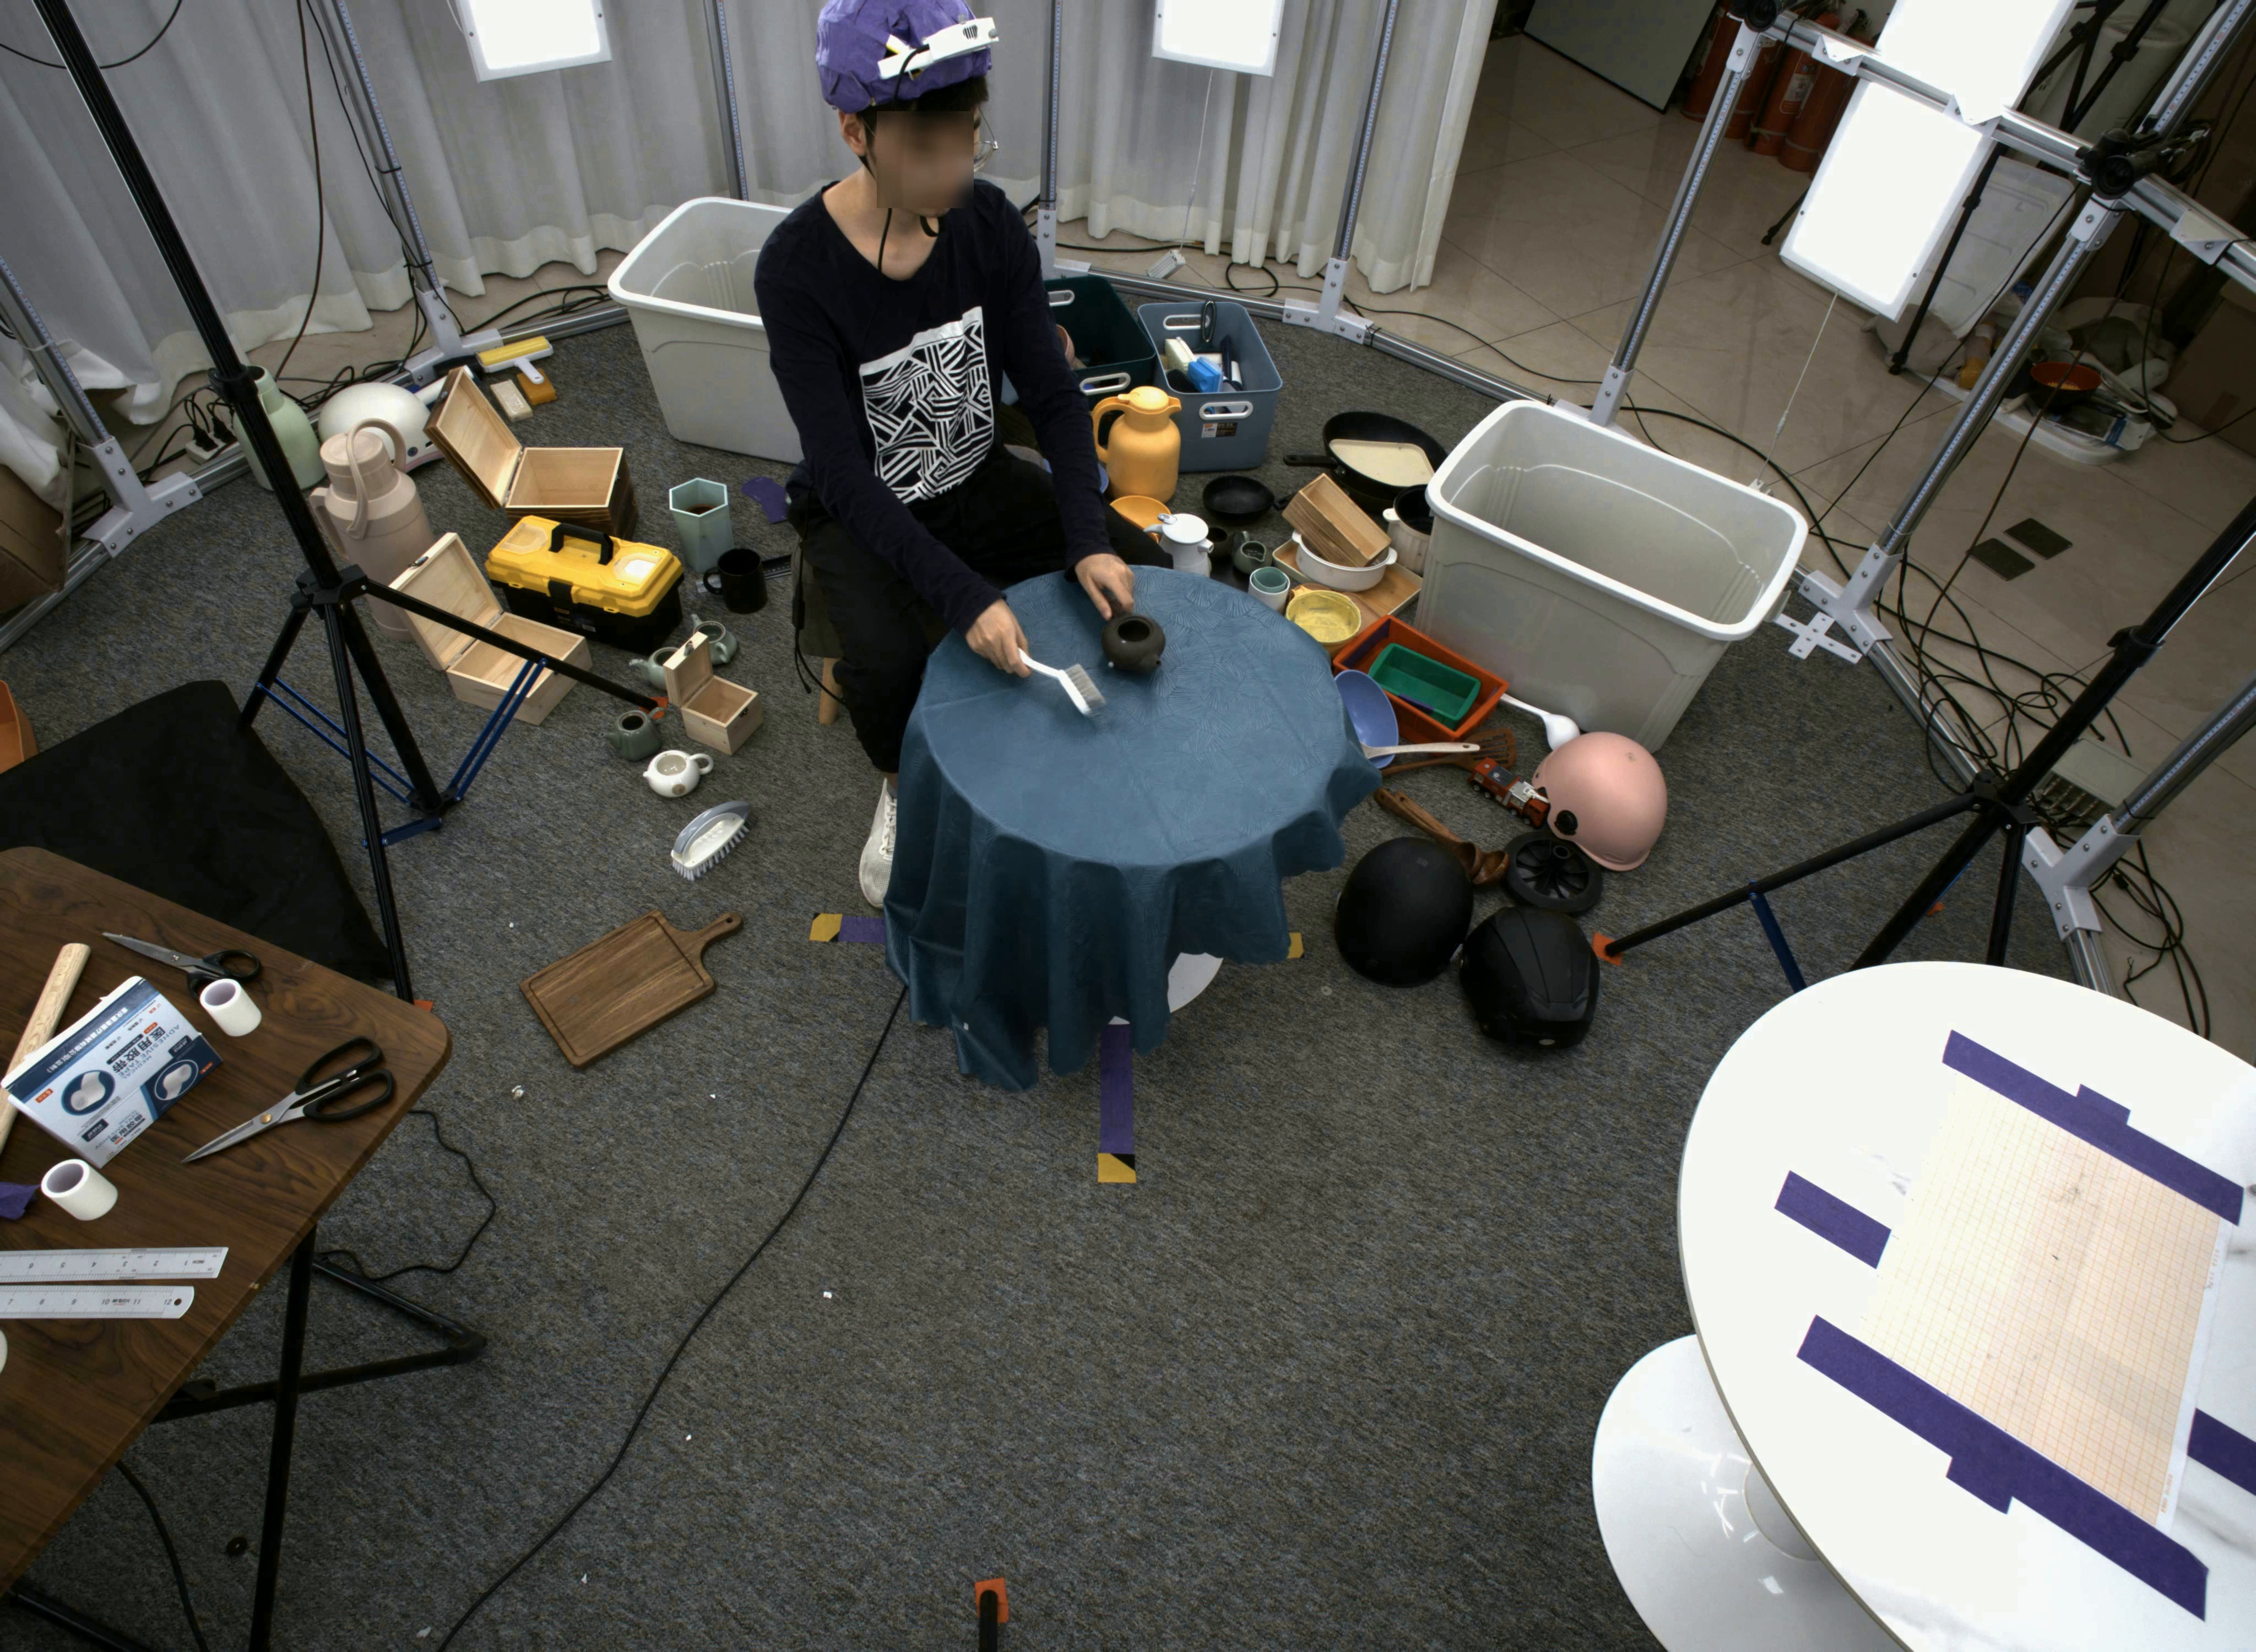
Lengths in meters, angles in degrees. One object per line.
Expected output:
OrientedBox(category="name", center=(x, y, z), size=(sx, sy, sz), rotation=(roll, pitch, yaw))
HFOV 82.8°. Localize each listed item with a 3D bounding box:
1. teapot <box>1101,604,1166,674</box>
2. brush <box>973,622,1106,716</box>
OrientedBox(category="teapot", center=(0.006, -0.267, 1.861), size=(0.092, 0.063, 0.158), rotation=(-20, 52, -18))
OrientedBox(category="brush", center=(-0.124, -0.237, 1.815), size=(0.247, 0.034, 0.050), rotation=(39, 92, 25))
